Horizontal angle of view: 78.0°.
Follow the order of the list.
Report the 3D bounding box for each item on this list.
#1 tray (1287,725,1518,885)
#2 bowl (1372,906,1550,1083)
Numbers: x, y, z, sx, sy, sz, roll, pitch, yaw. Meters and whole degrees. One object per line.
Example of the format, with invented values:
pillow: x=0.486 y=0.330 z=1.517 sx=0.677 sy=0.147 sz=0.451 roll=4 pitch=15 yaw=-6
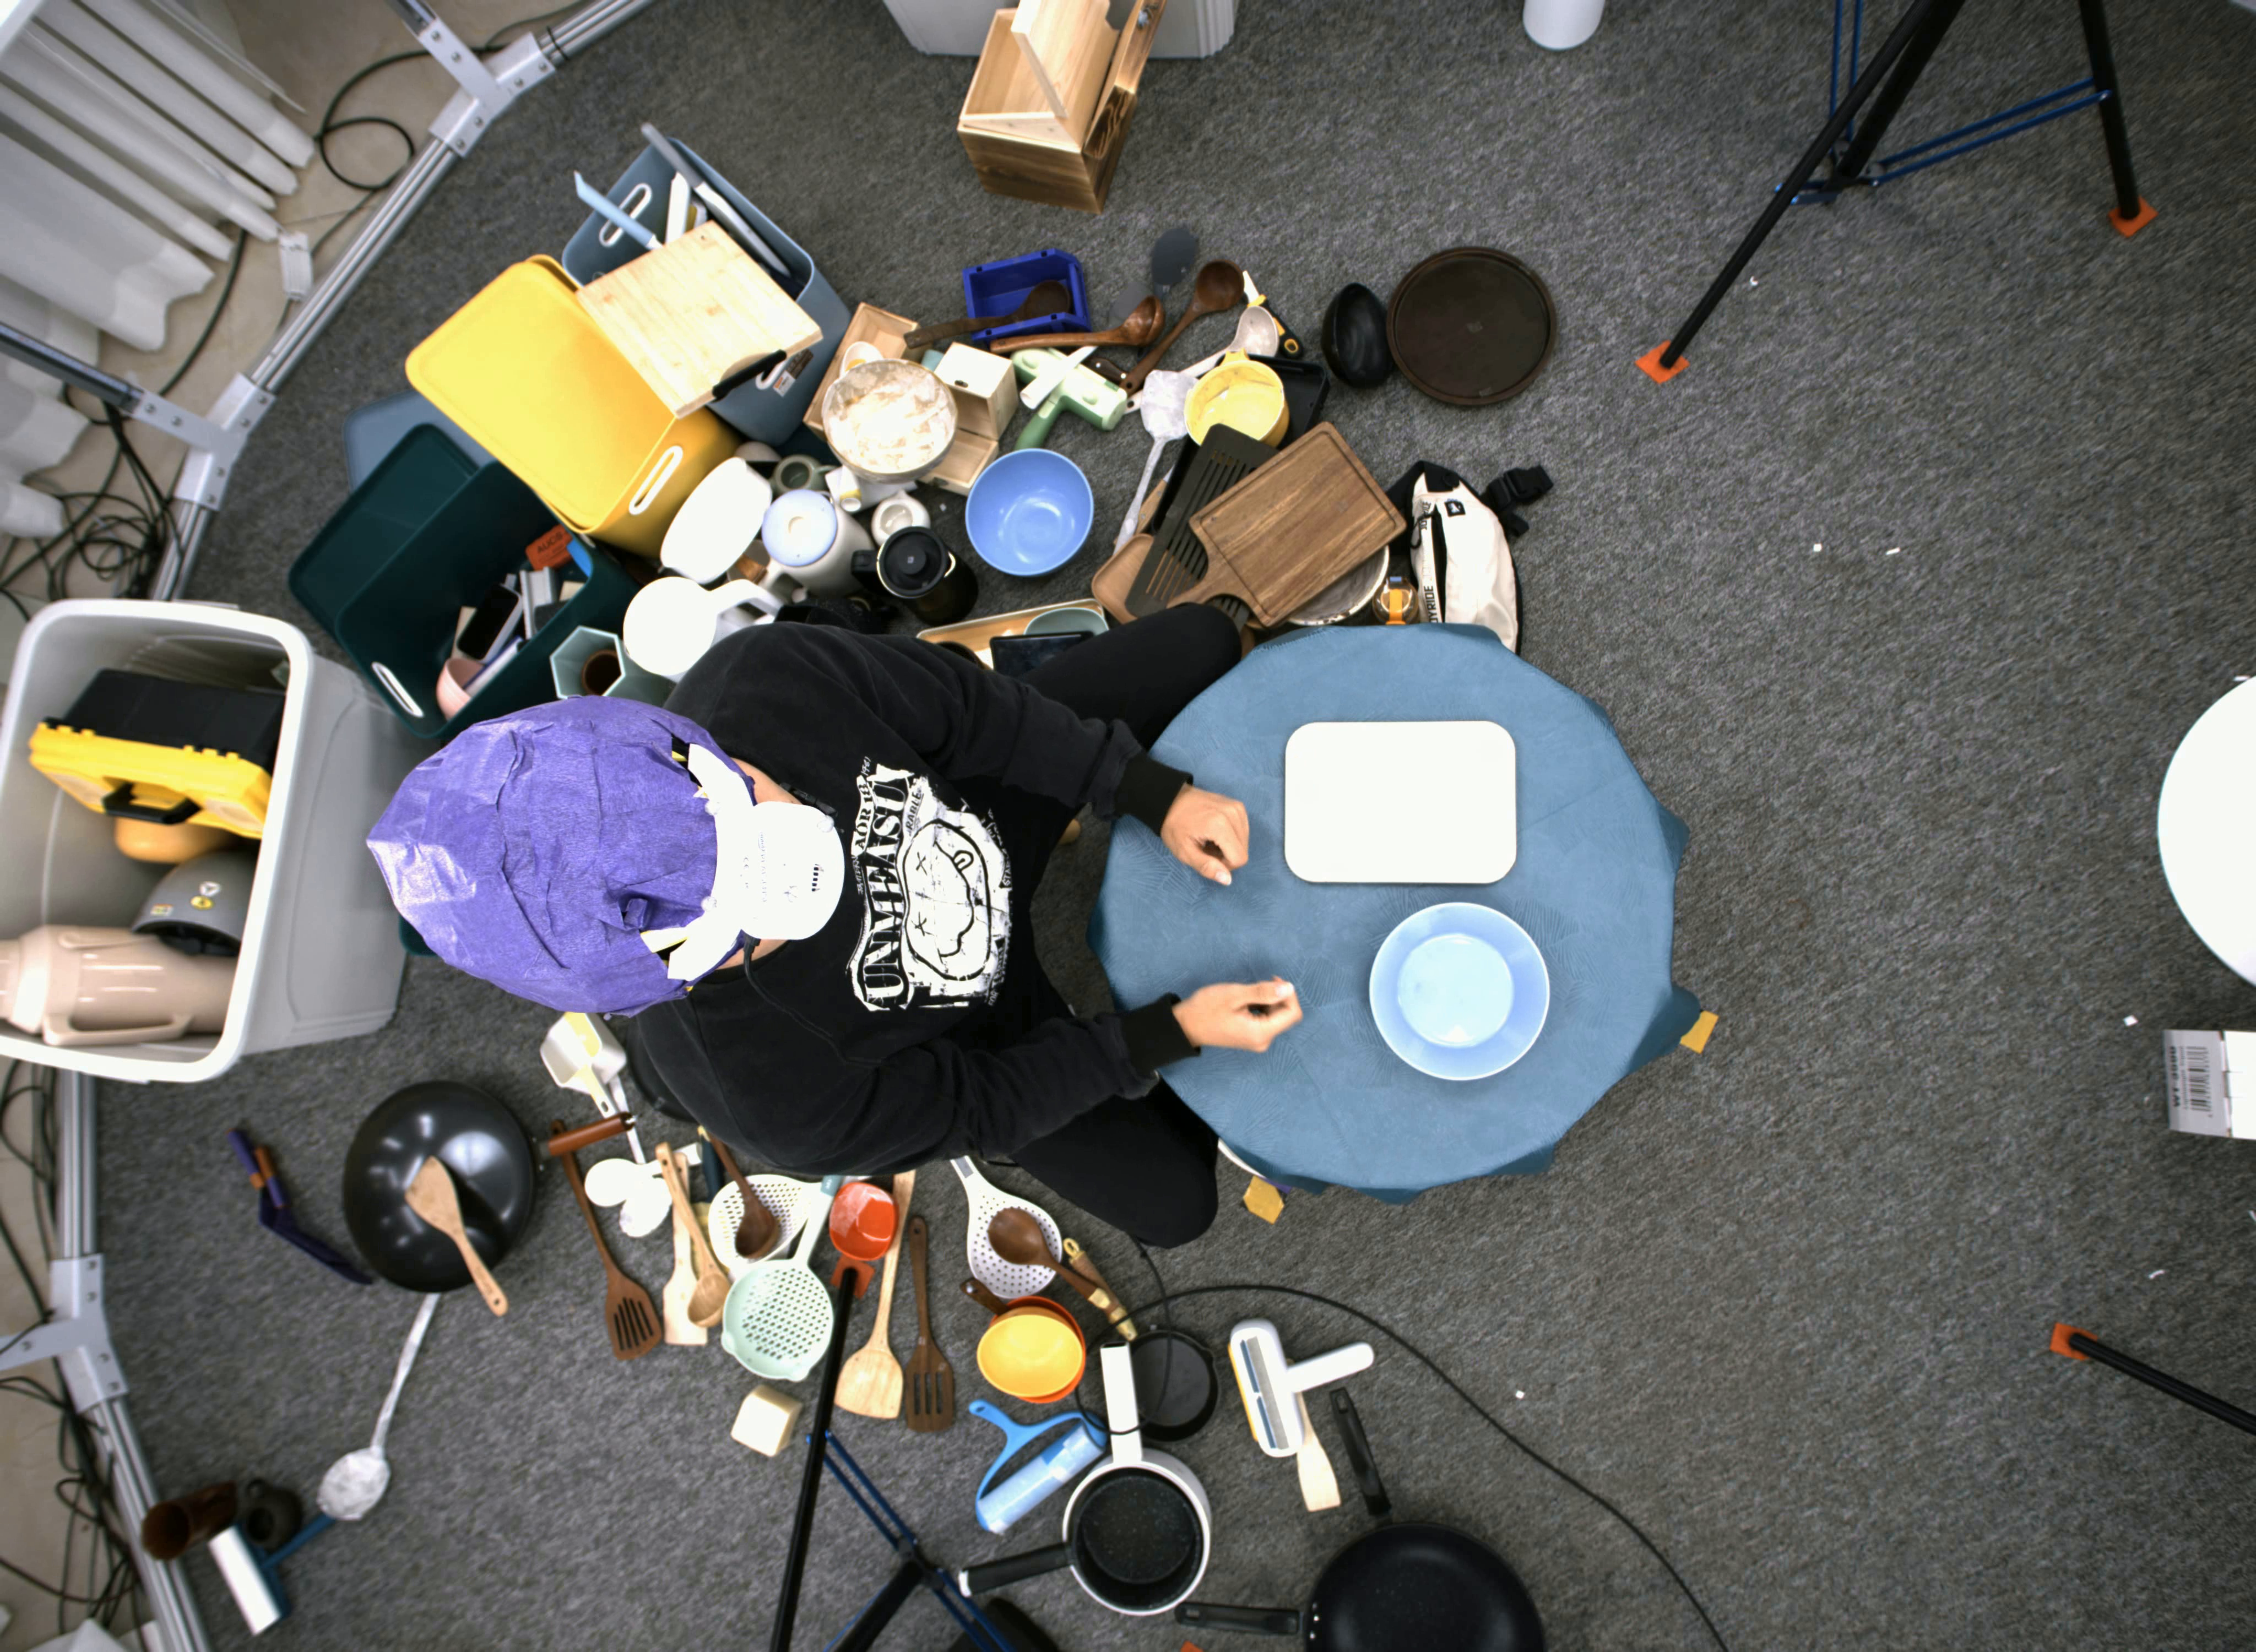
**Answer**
tray: x=0.289 y=-0.023 z=1.459 sx=0.240 sy=0.017 sz=0.170 roll=0 pitch=86 yaw=10
bowl: x=0.338 y=0.171 z=1.409 sx=0.177 sy=0.070 sz=0.175 roll=-1 pitch=84 yaw=10
